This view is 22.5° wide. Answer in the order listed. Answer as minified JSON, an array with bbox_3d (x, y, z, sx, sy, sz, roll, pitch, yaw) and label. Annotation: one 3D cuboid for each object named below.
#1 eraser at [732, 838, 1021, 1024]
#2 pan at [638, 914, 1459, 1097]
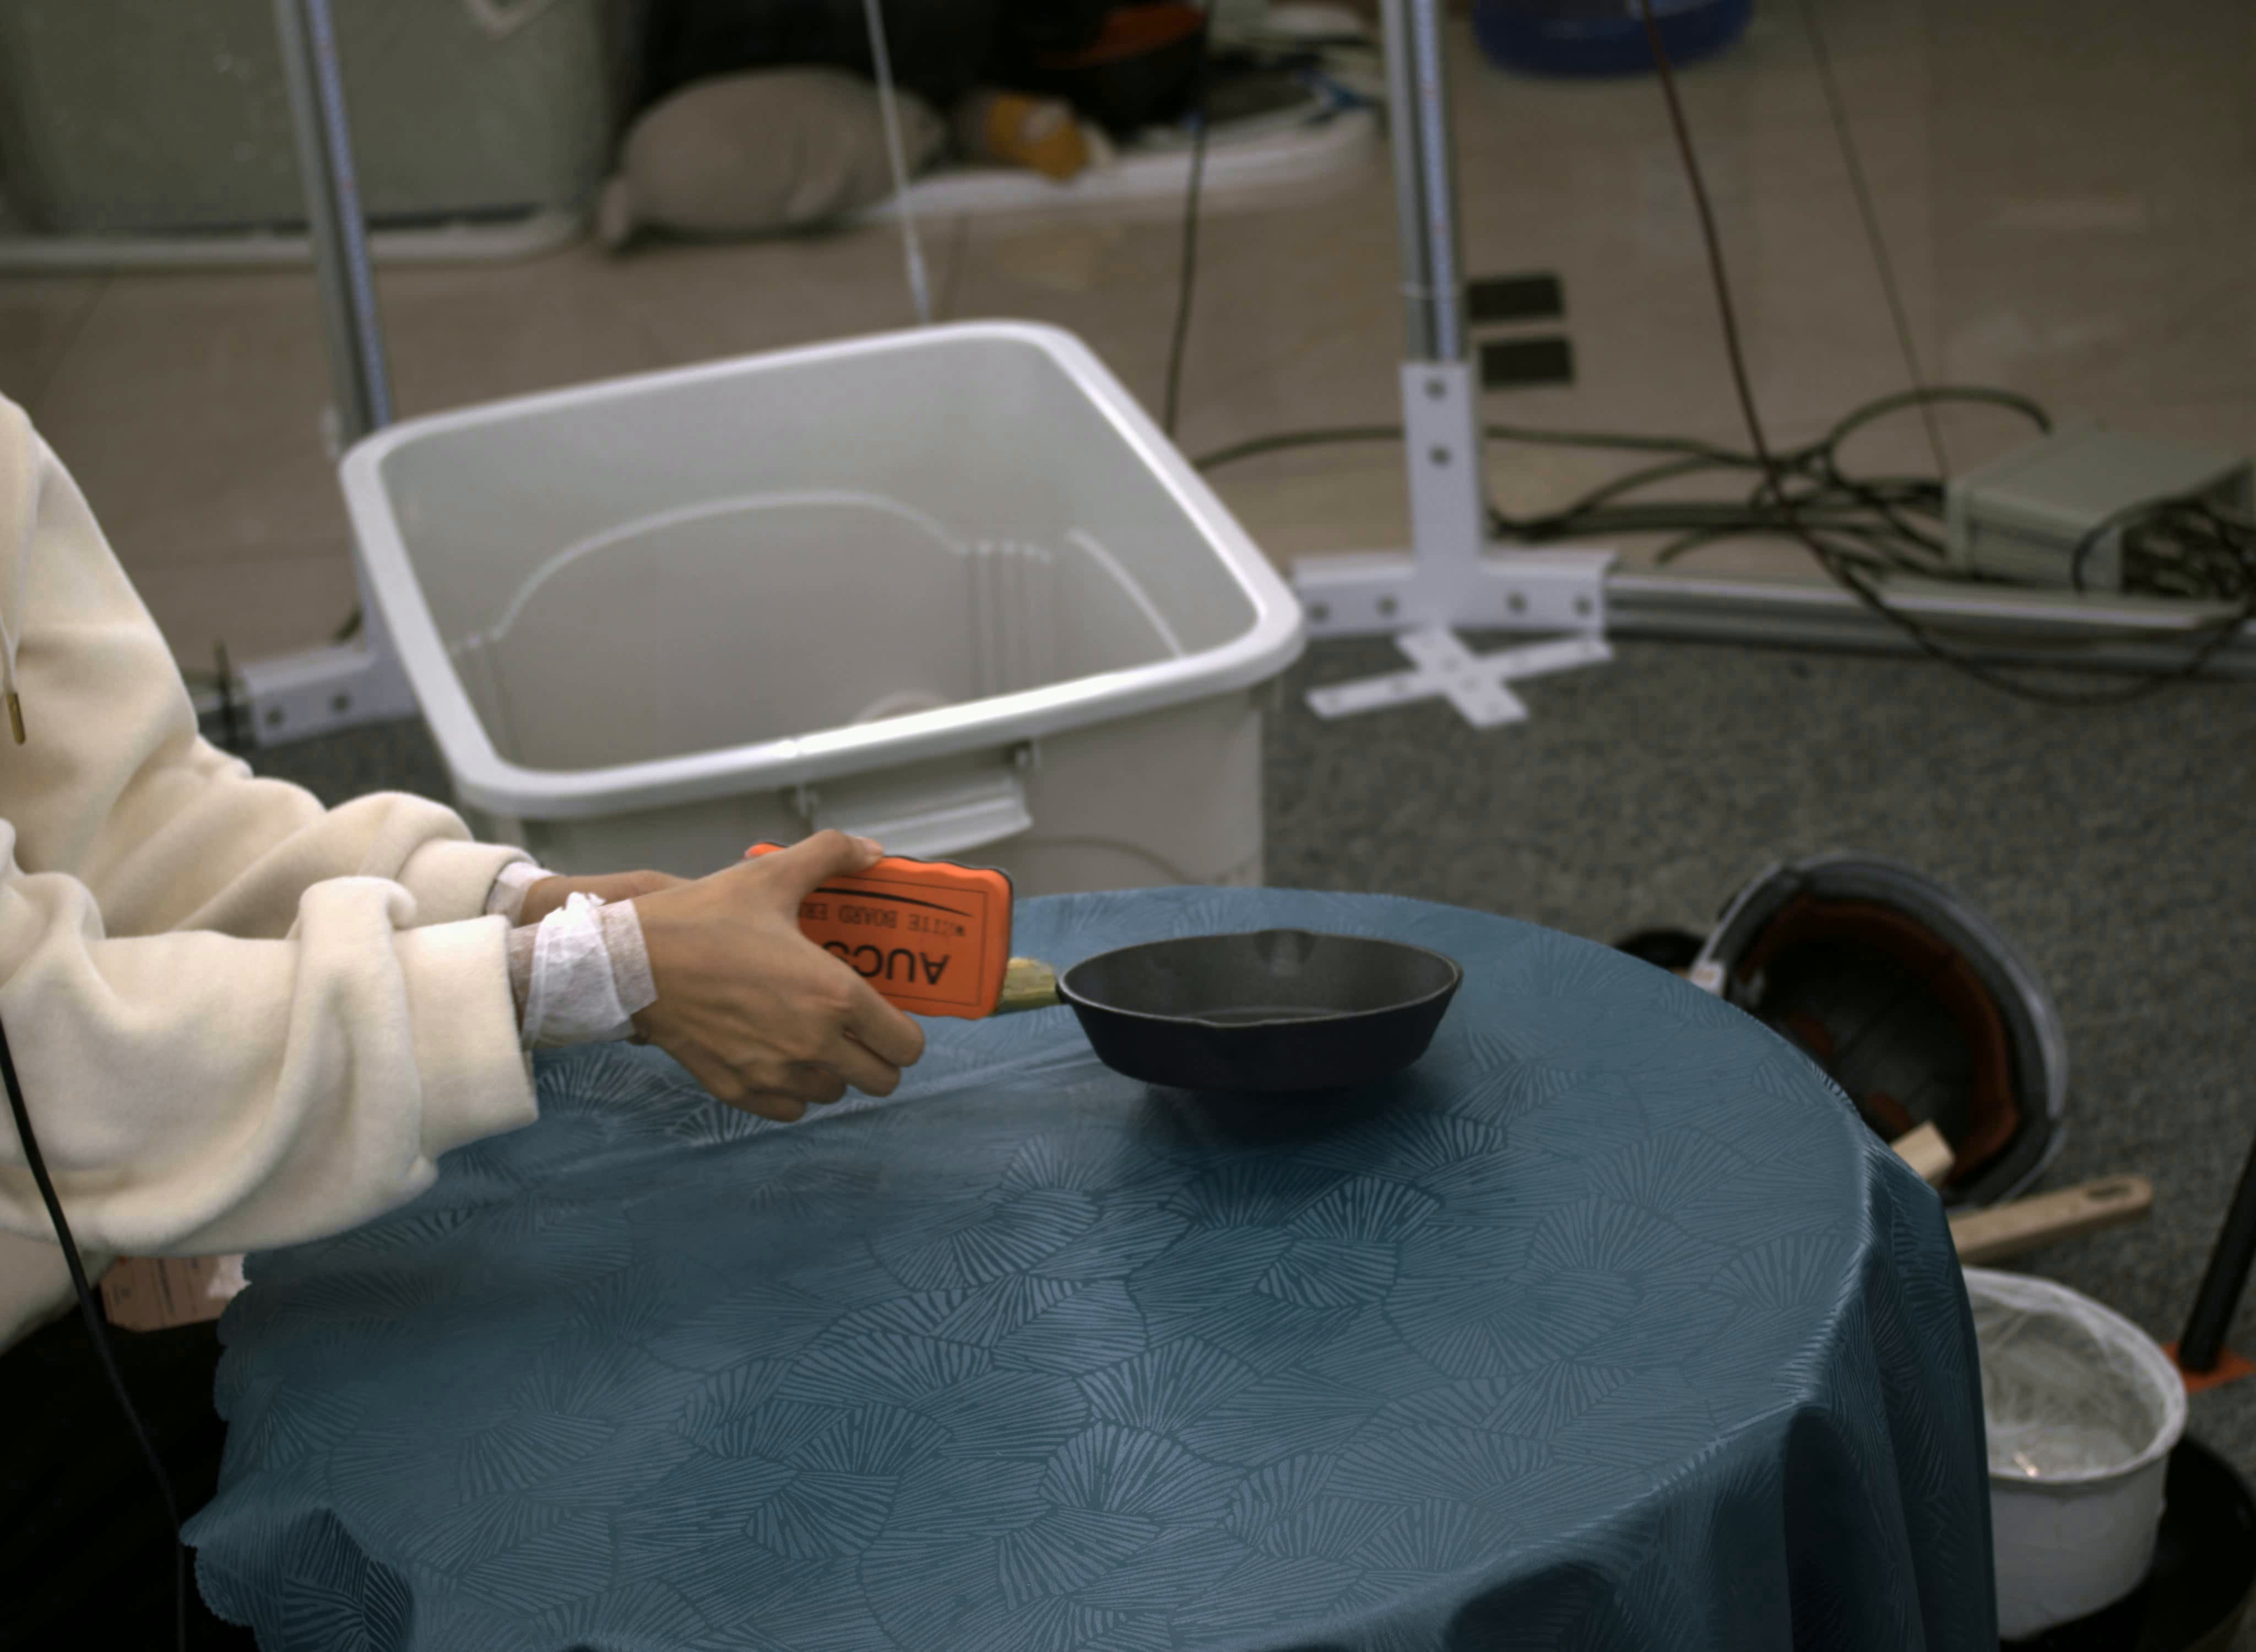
[{"bbox_3d":[-0.096,0.040,2.166,0.108,0.059,0.023,8,13,12],"label":"eraser"},{"bbox_3d":[-0.032,0.064,2.206,0.323,0.050,0.167,2,13,10],"label":"pan"}]
